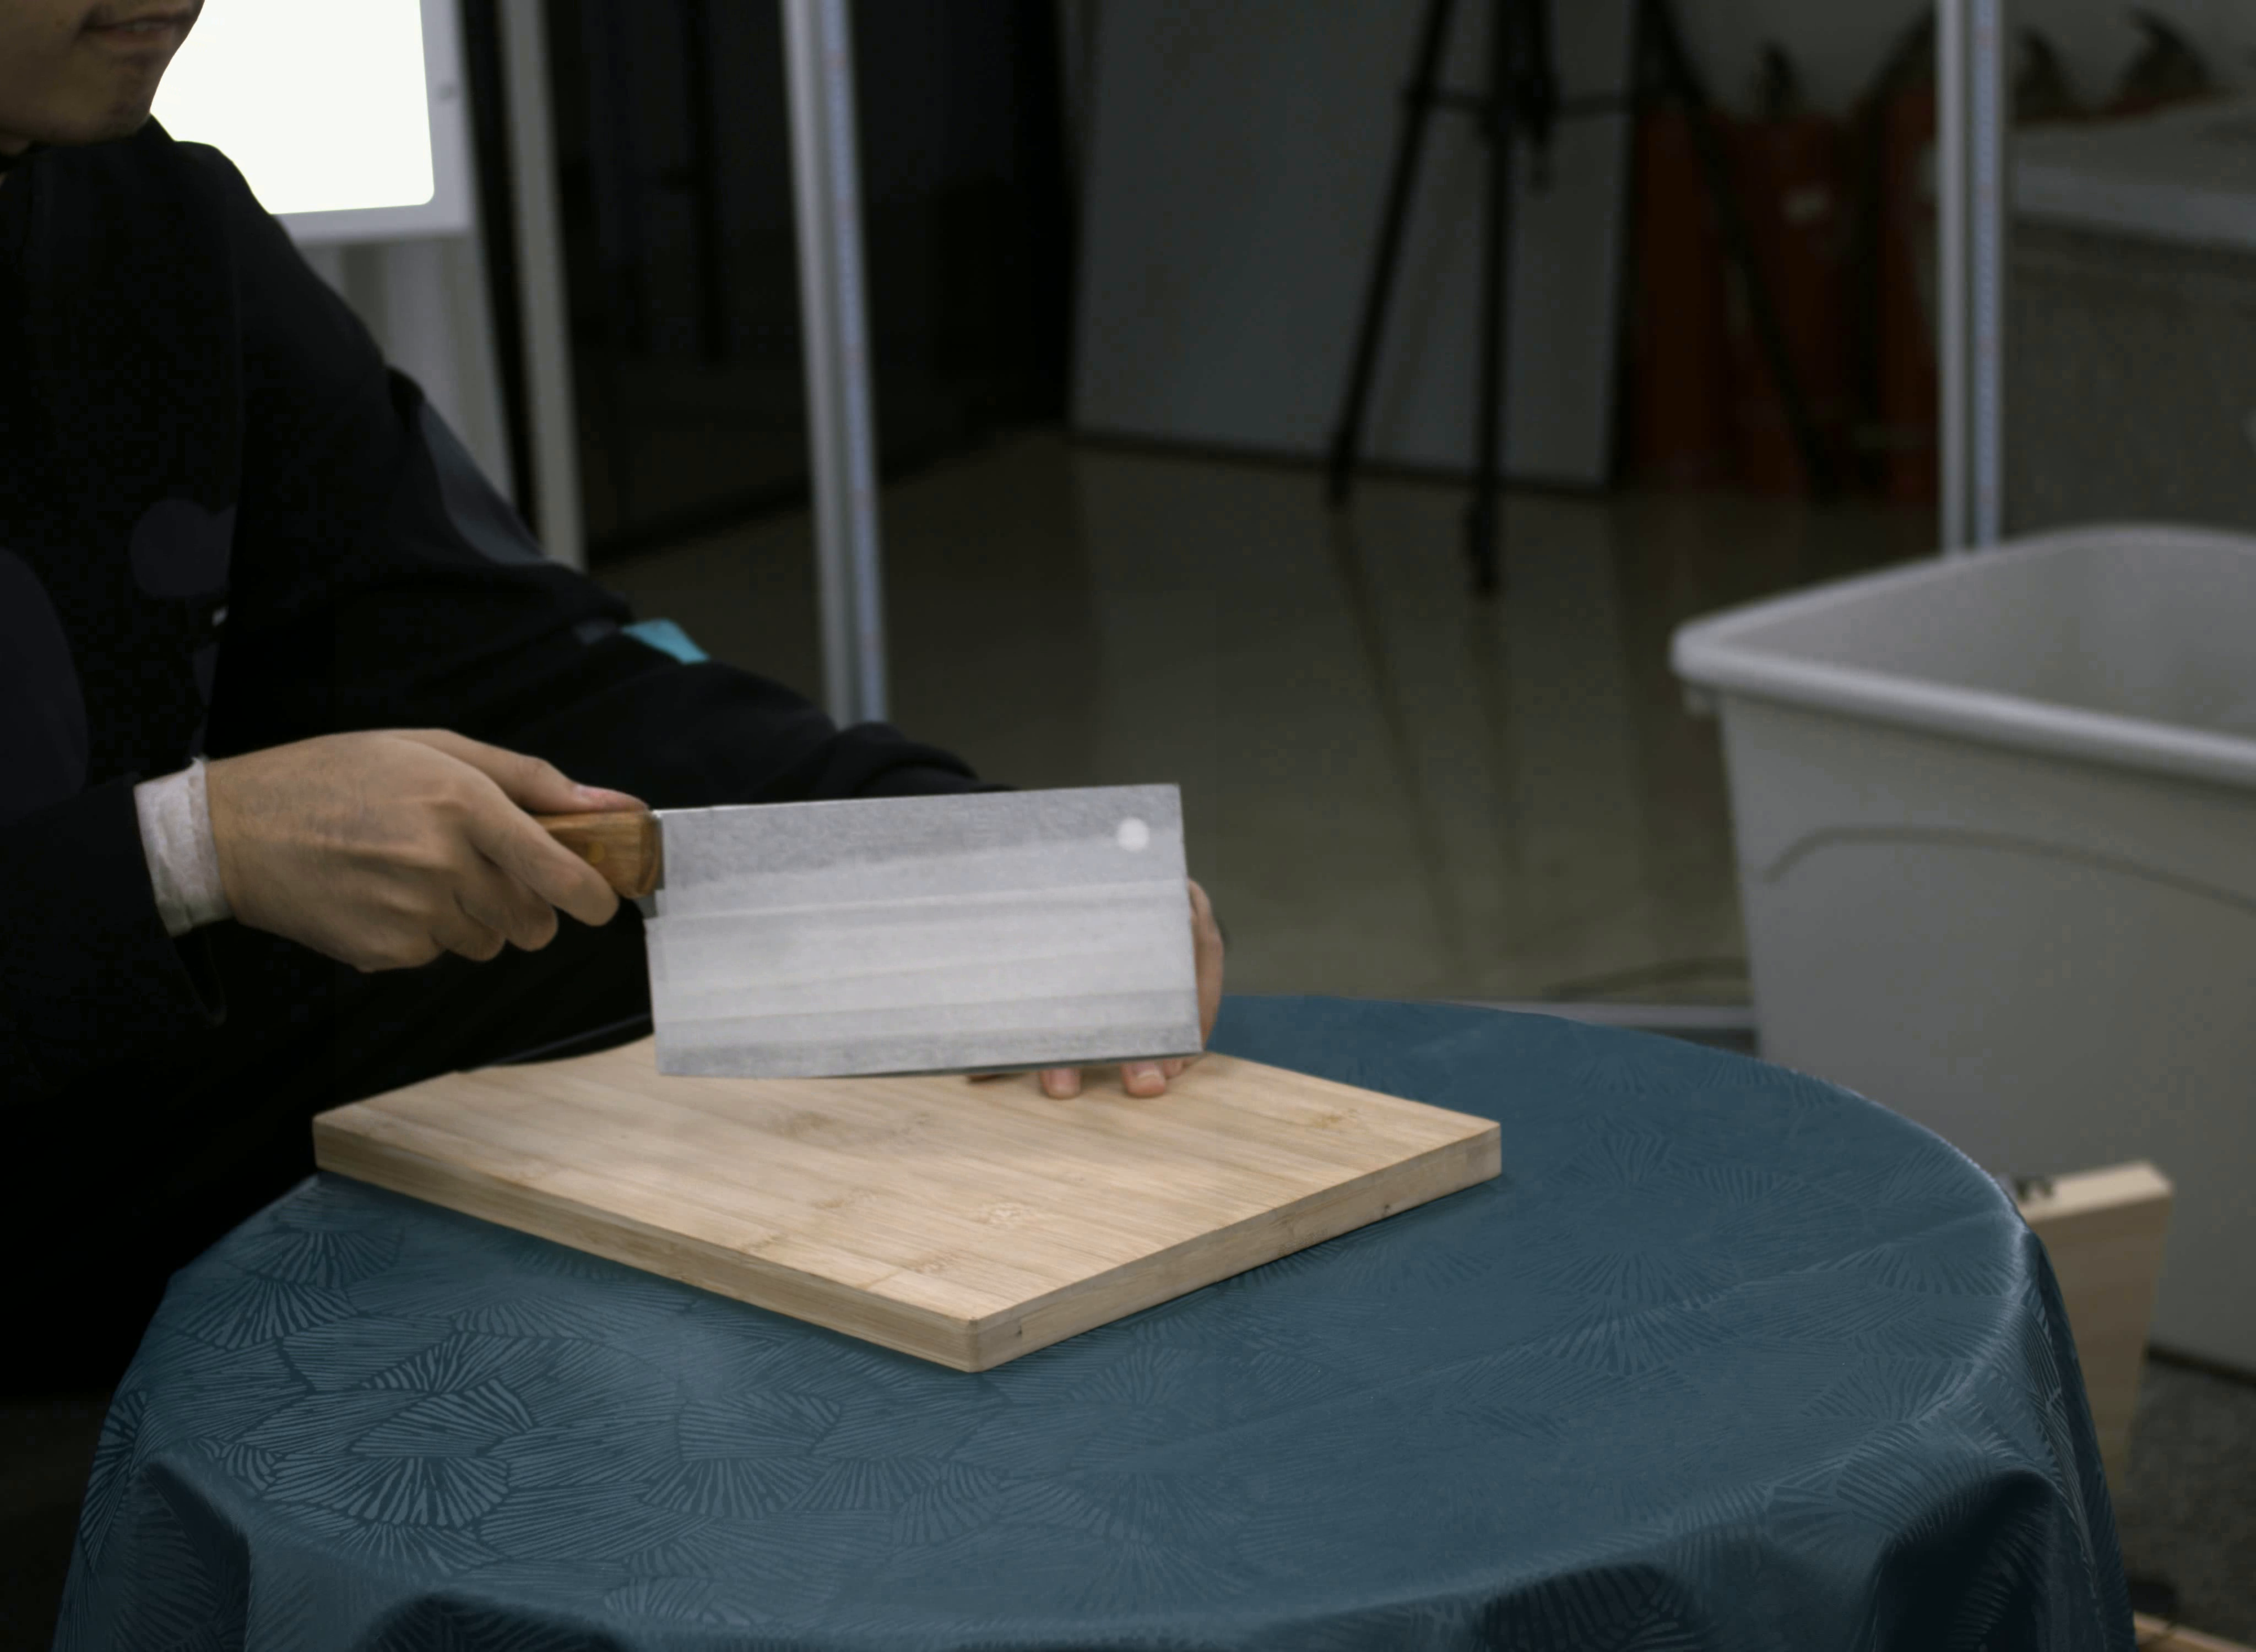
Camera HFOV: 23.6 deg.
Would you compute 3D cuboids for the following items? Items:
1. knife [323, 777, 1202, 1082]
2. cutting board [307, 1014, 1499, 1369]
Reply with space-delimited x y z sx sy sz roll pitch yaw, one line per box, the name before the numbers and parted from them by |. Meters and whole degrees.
knife | -0.121 0.037 1.766 0.305 0.094 0.021 -3 7 20
cutting board | -0.080 0.108 1.811 0.245 0.024 0.352 -17 19 -41
